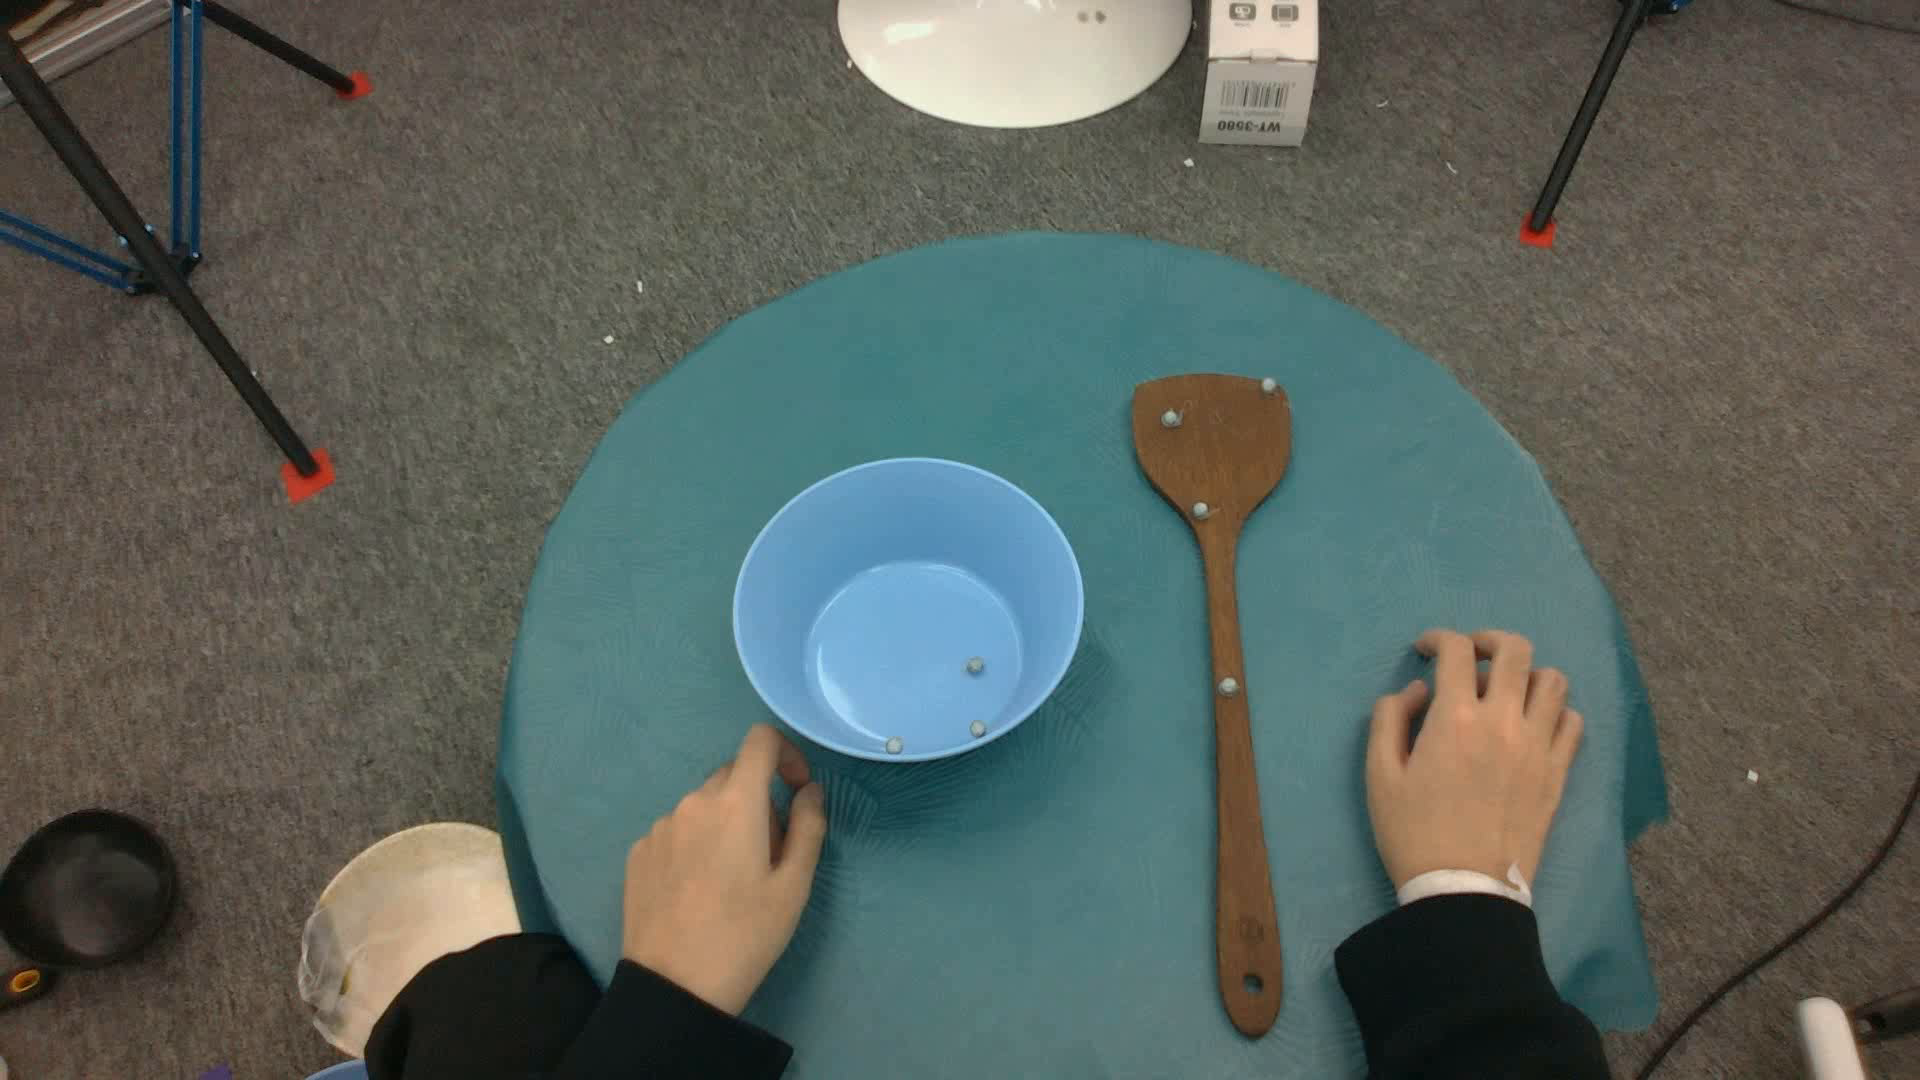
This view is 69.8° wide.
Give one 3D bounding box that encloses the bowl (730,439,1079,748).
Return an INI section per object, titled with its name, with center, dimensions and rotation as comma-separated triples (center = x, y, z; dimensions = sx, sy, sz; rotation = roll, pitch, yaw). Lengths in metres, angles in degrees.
[bowl]
center = -0.027, 0.037, 0.716
dimensions = 0.176, 0.070, 0.177
rotation = 0, 59, 1

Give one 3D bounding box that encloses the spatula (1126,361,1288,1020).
[spatula]
center = 0.142, 0.056, 0.735
dimensions = 0.096, 0.016, 0.387
rotation = 1, 57, 2
